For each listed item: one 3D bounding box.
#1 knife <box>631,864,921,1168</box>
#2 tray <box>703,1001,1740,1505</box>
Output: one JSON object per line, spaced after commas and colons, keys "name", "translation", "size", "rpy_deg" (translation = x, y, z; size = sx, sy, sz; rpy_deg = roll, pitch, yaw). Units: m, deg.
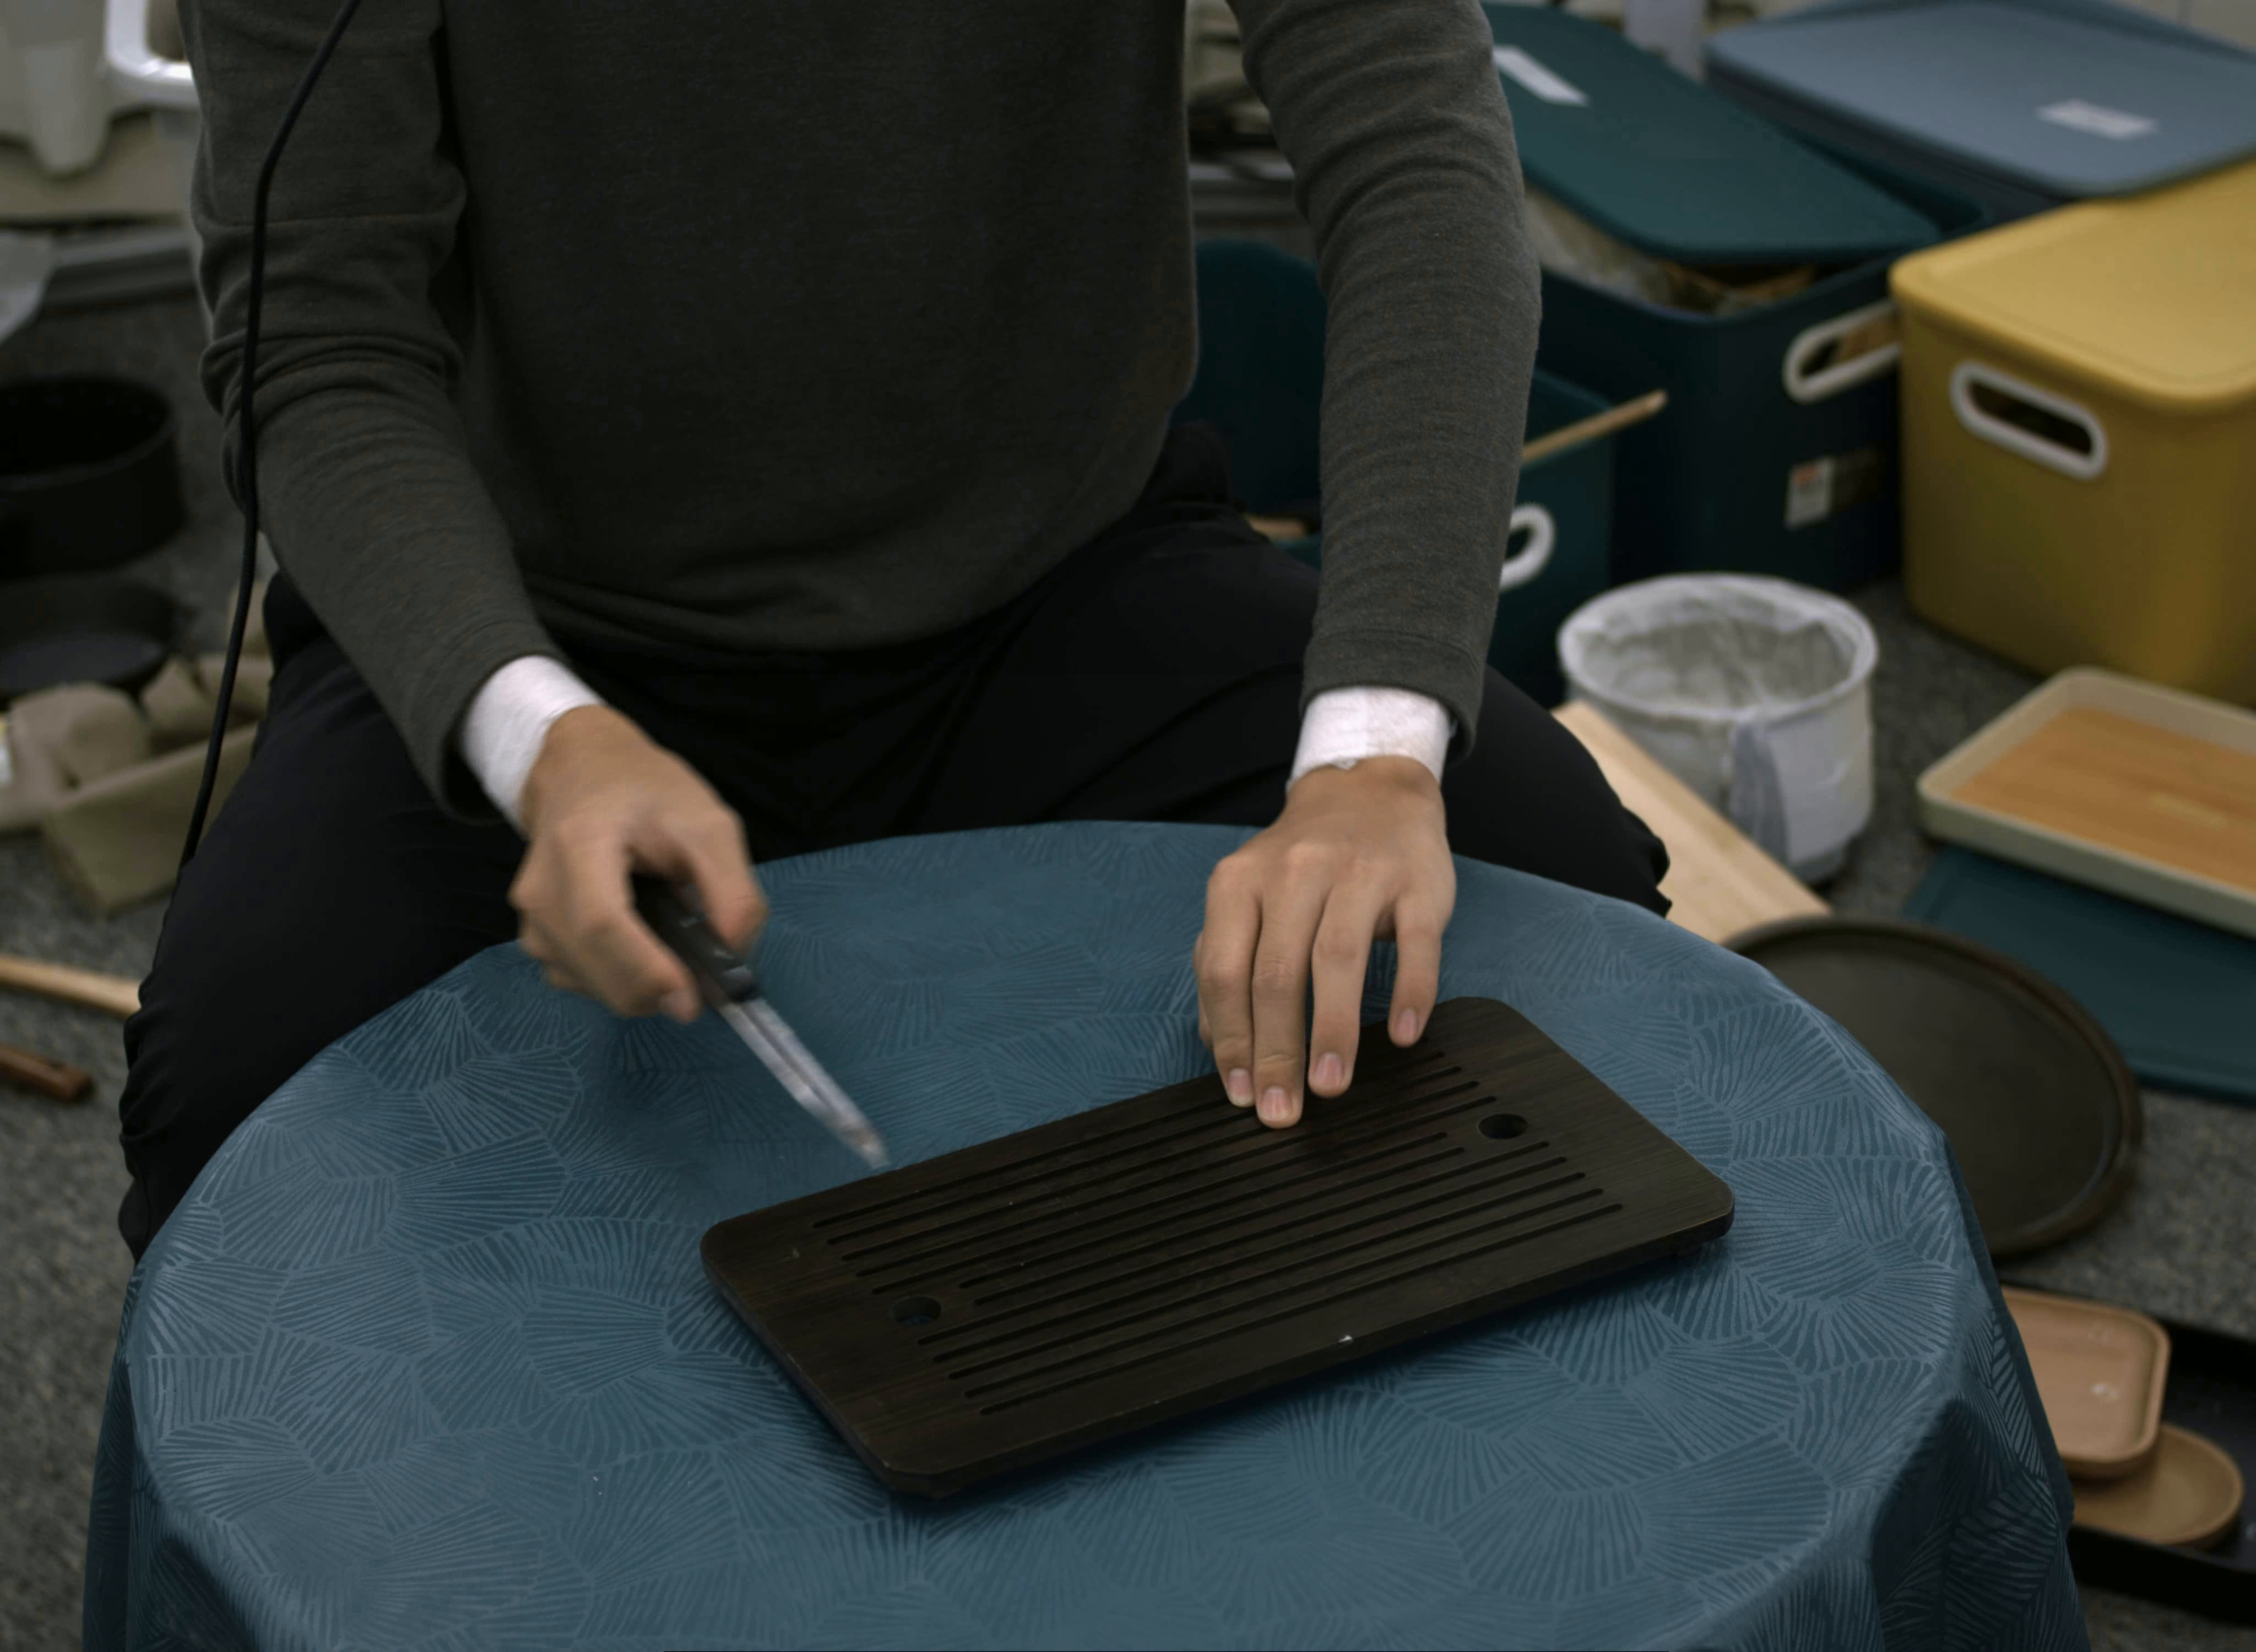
{"name": "knife", "translation": [-0.117, 0.061, 1.842], "size": [0.024, 0.016, 0.239], "rpy_deg": [21, 11, -32]}
{"name": "tray", "translation": [0.030, 0.135, 1.813], "size": [0.307, 0.018, 0.171], "rpy_deg": [-15, 29, -23]}
